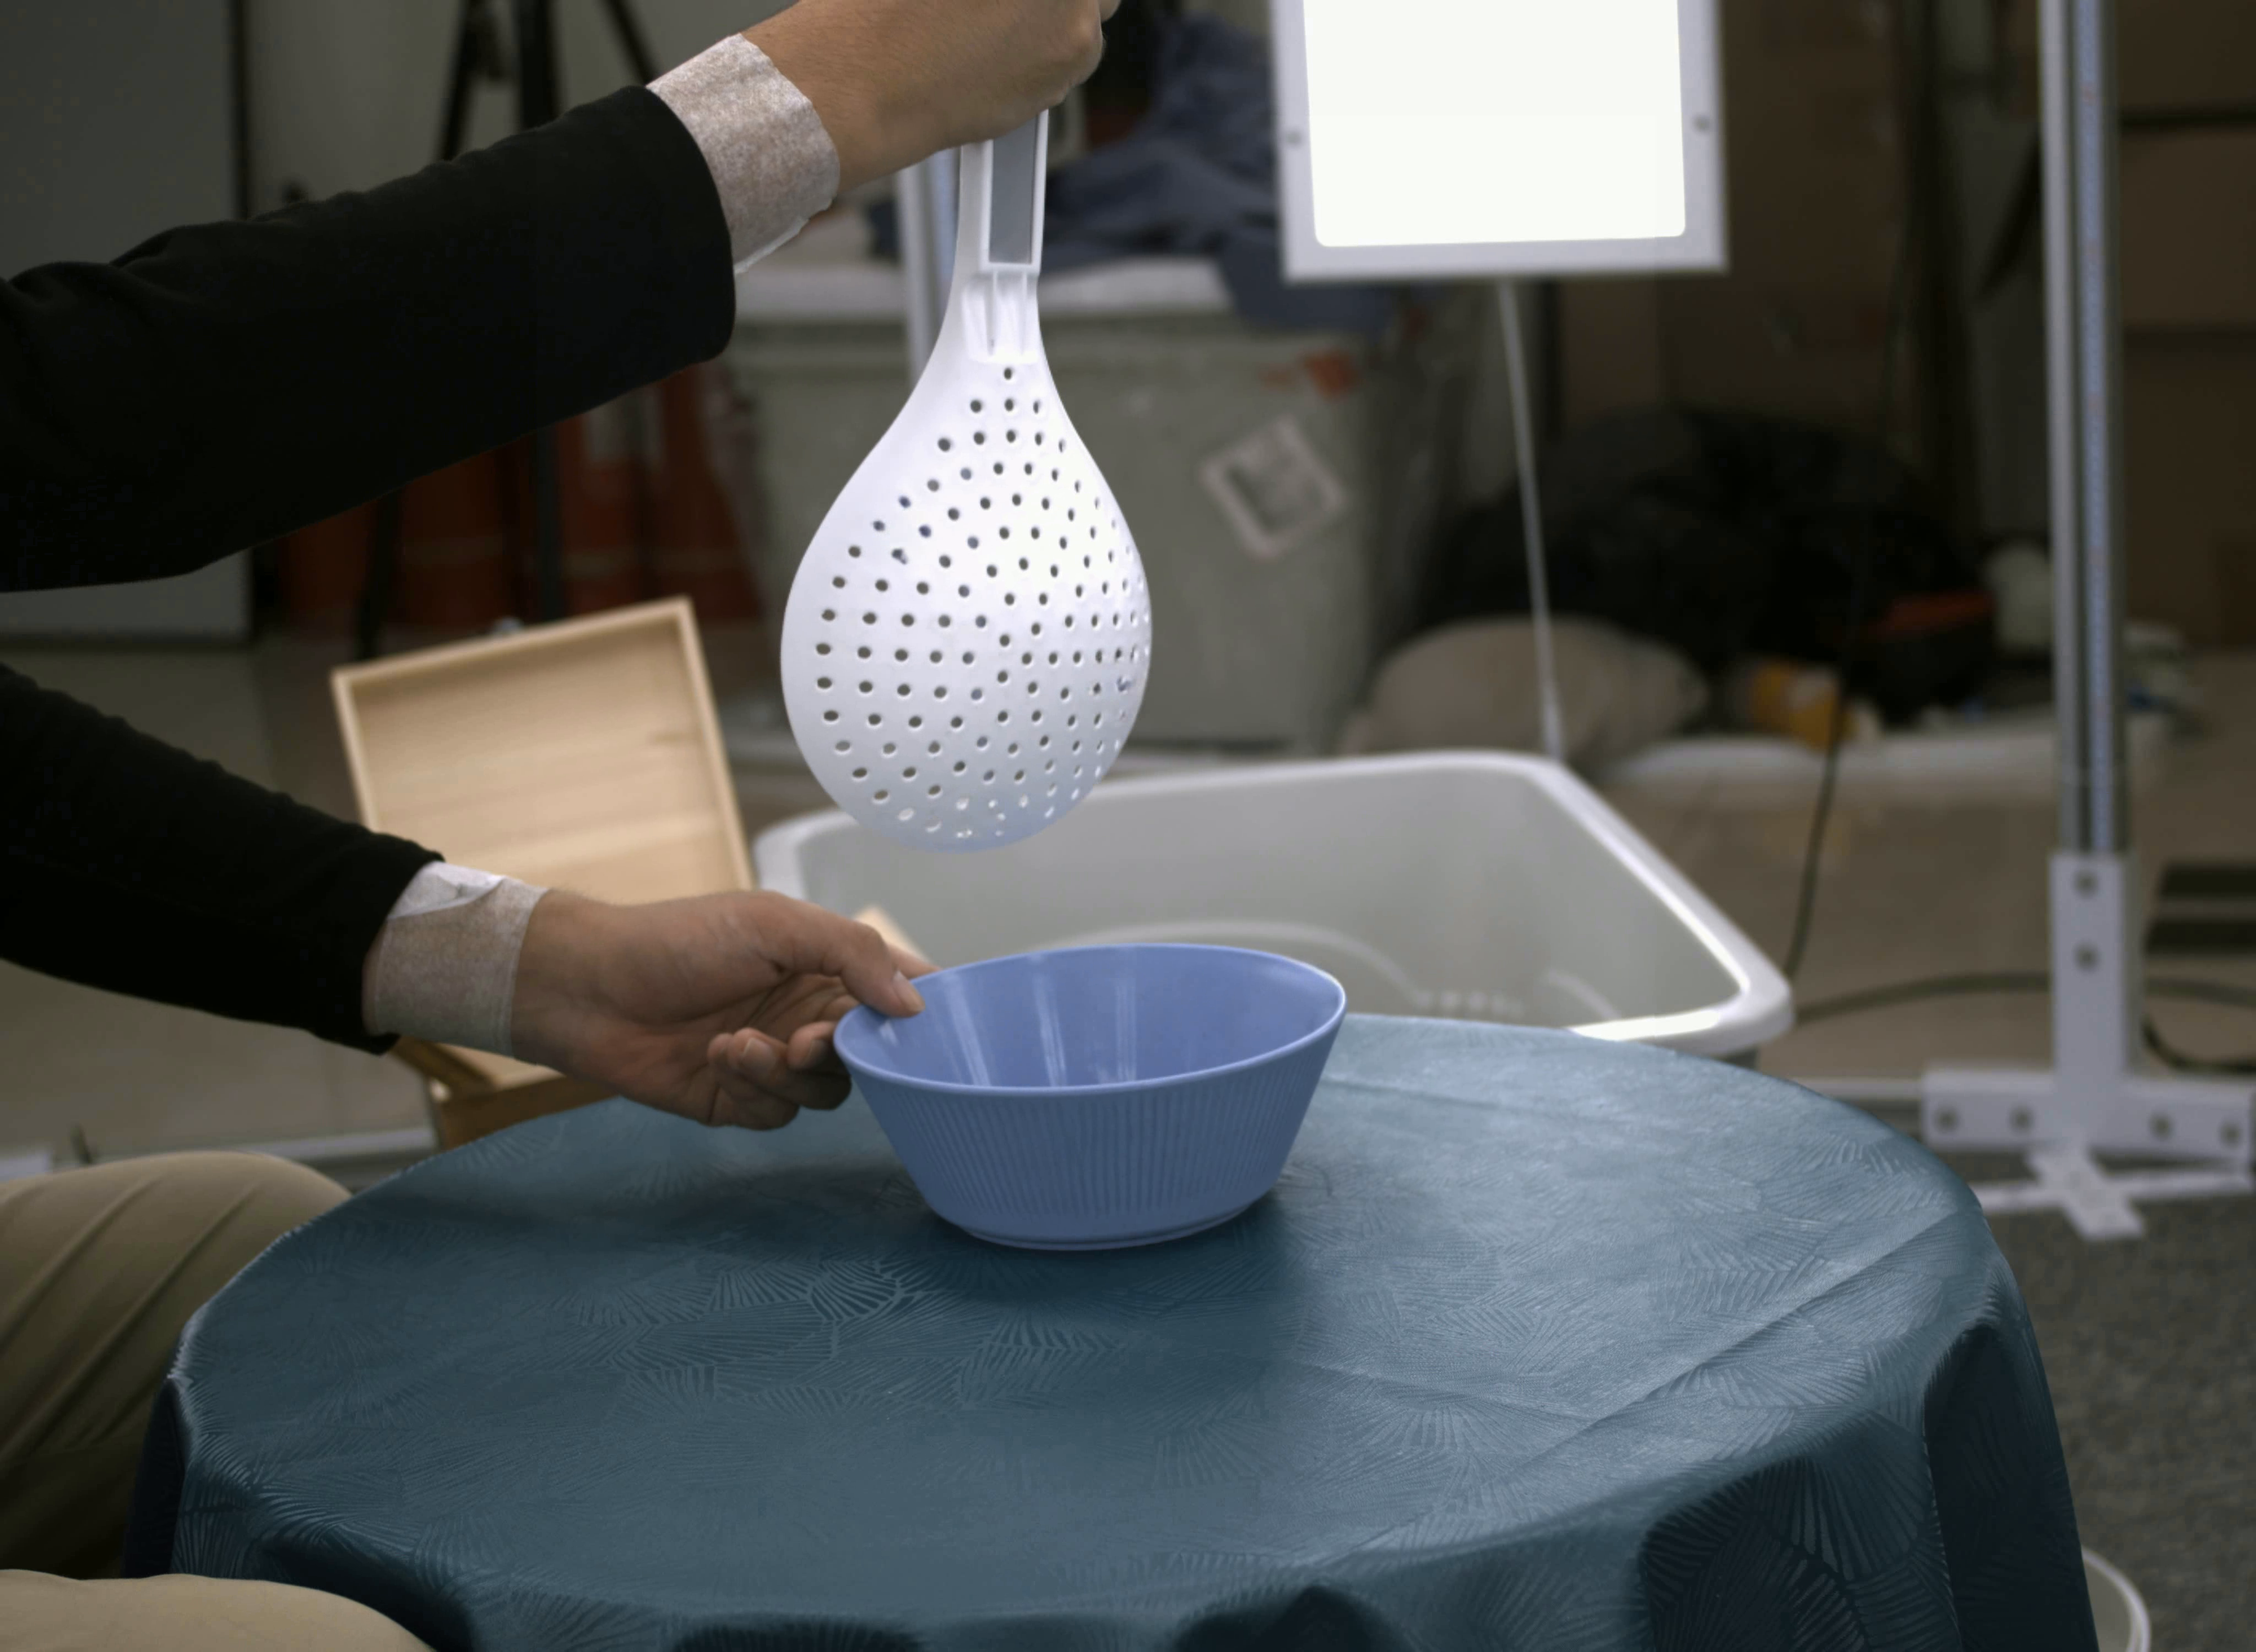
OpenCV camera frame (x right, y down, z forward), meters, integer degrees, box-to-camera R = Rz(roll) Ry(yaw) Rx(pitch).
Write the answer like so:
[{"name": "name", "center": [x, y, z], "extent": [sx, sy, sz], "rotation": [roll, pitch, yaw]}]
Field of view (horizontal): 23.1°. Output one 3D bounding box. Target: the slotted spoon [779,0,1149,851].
[{"name": "slotted spoon", "center": [-0.043, -0.165, 1.762], "extent": [0.133, 0.351, 0.046], "rotation": [-2, 5, -27]}]

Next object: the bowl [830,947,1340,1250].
[{"name": "bowl", "center": [-0.012, 0.096, 1.882], "extent": [0.175, 0.070, 0.176], "rotation": [-6, 14, 0]}]
